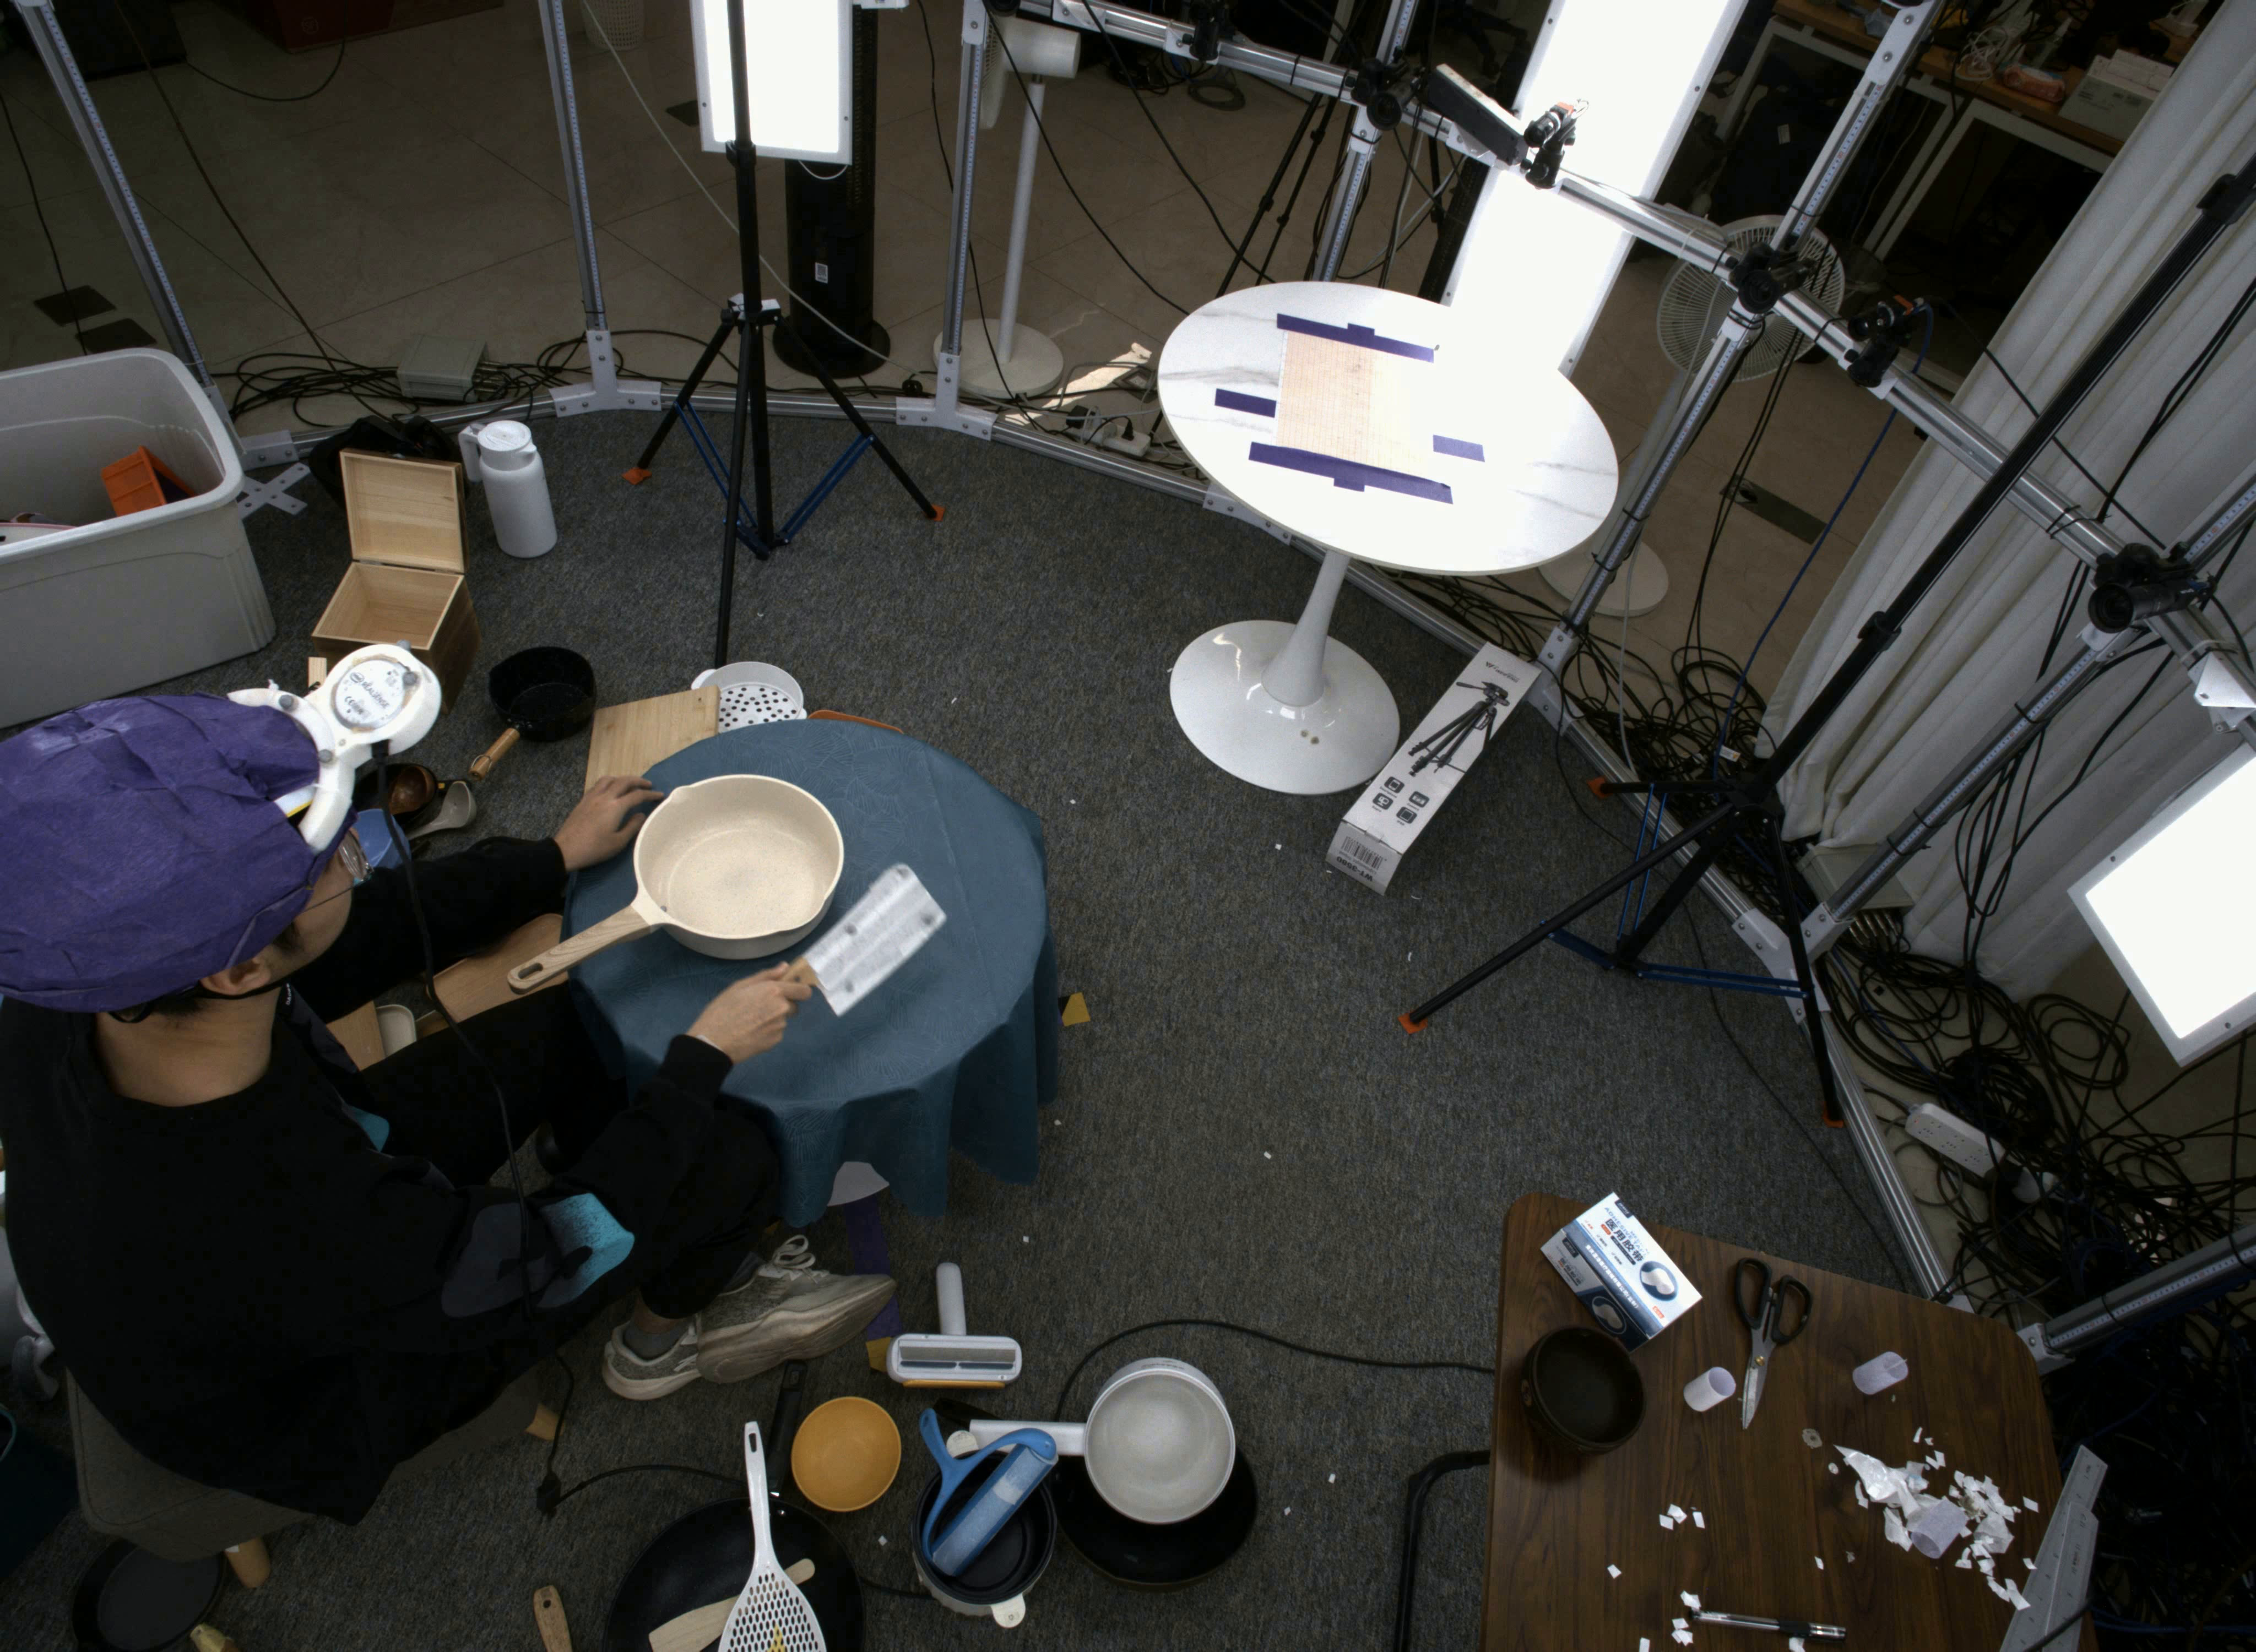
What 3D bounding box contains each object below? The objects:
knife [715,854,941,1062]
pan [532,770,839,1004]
[{"bbox_3d":[-0.341,0.152,1.480,0.021,0.118,0.315,3,36,48],"label":"knife"},{"bbox_3d":[-0.544,0.096,1.545,0.258,0.104,0.435,41,54,14],"label":"pan"}]
